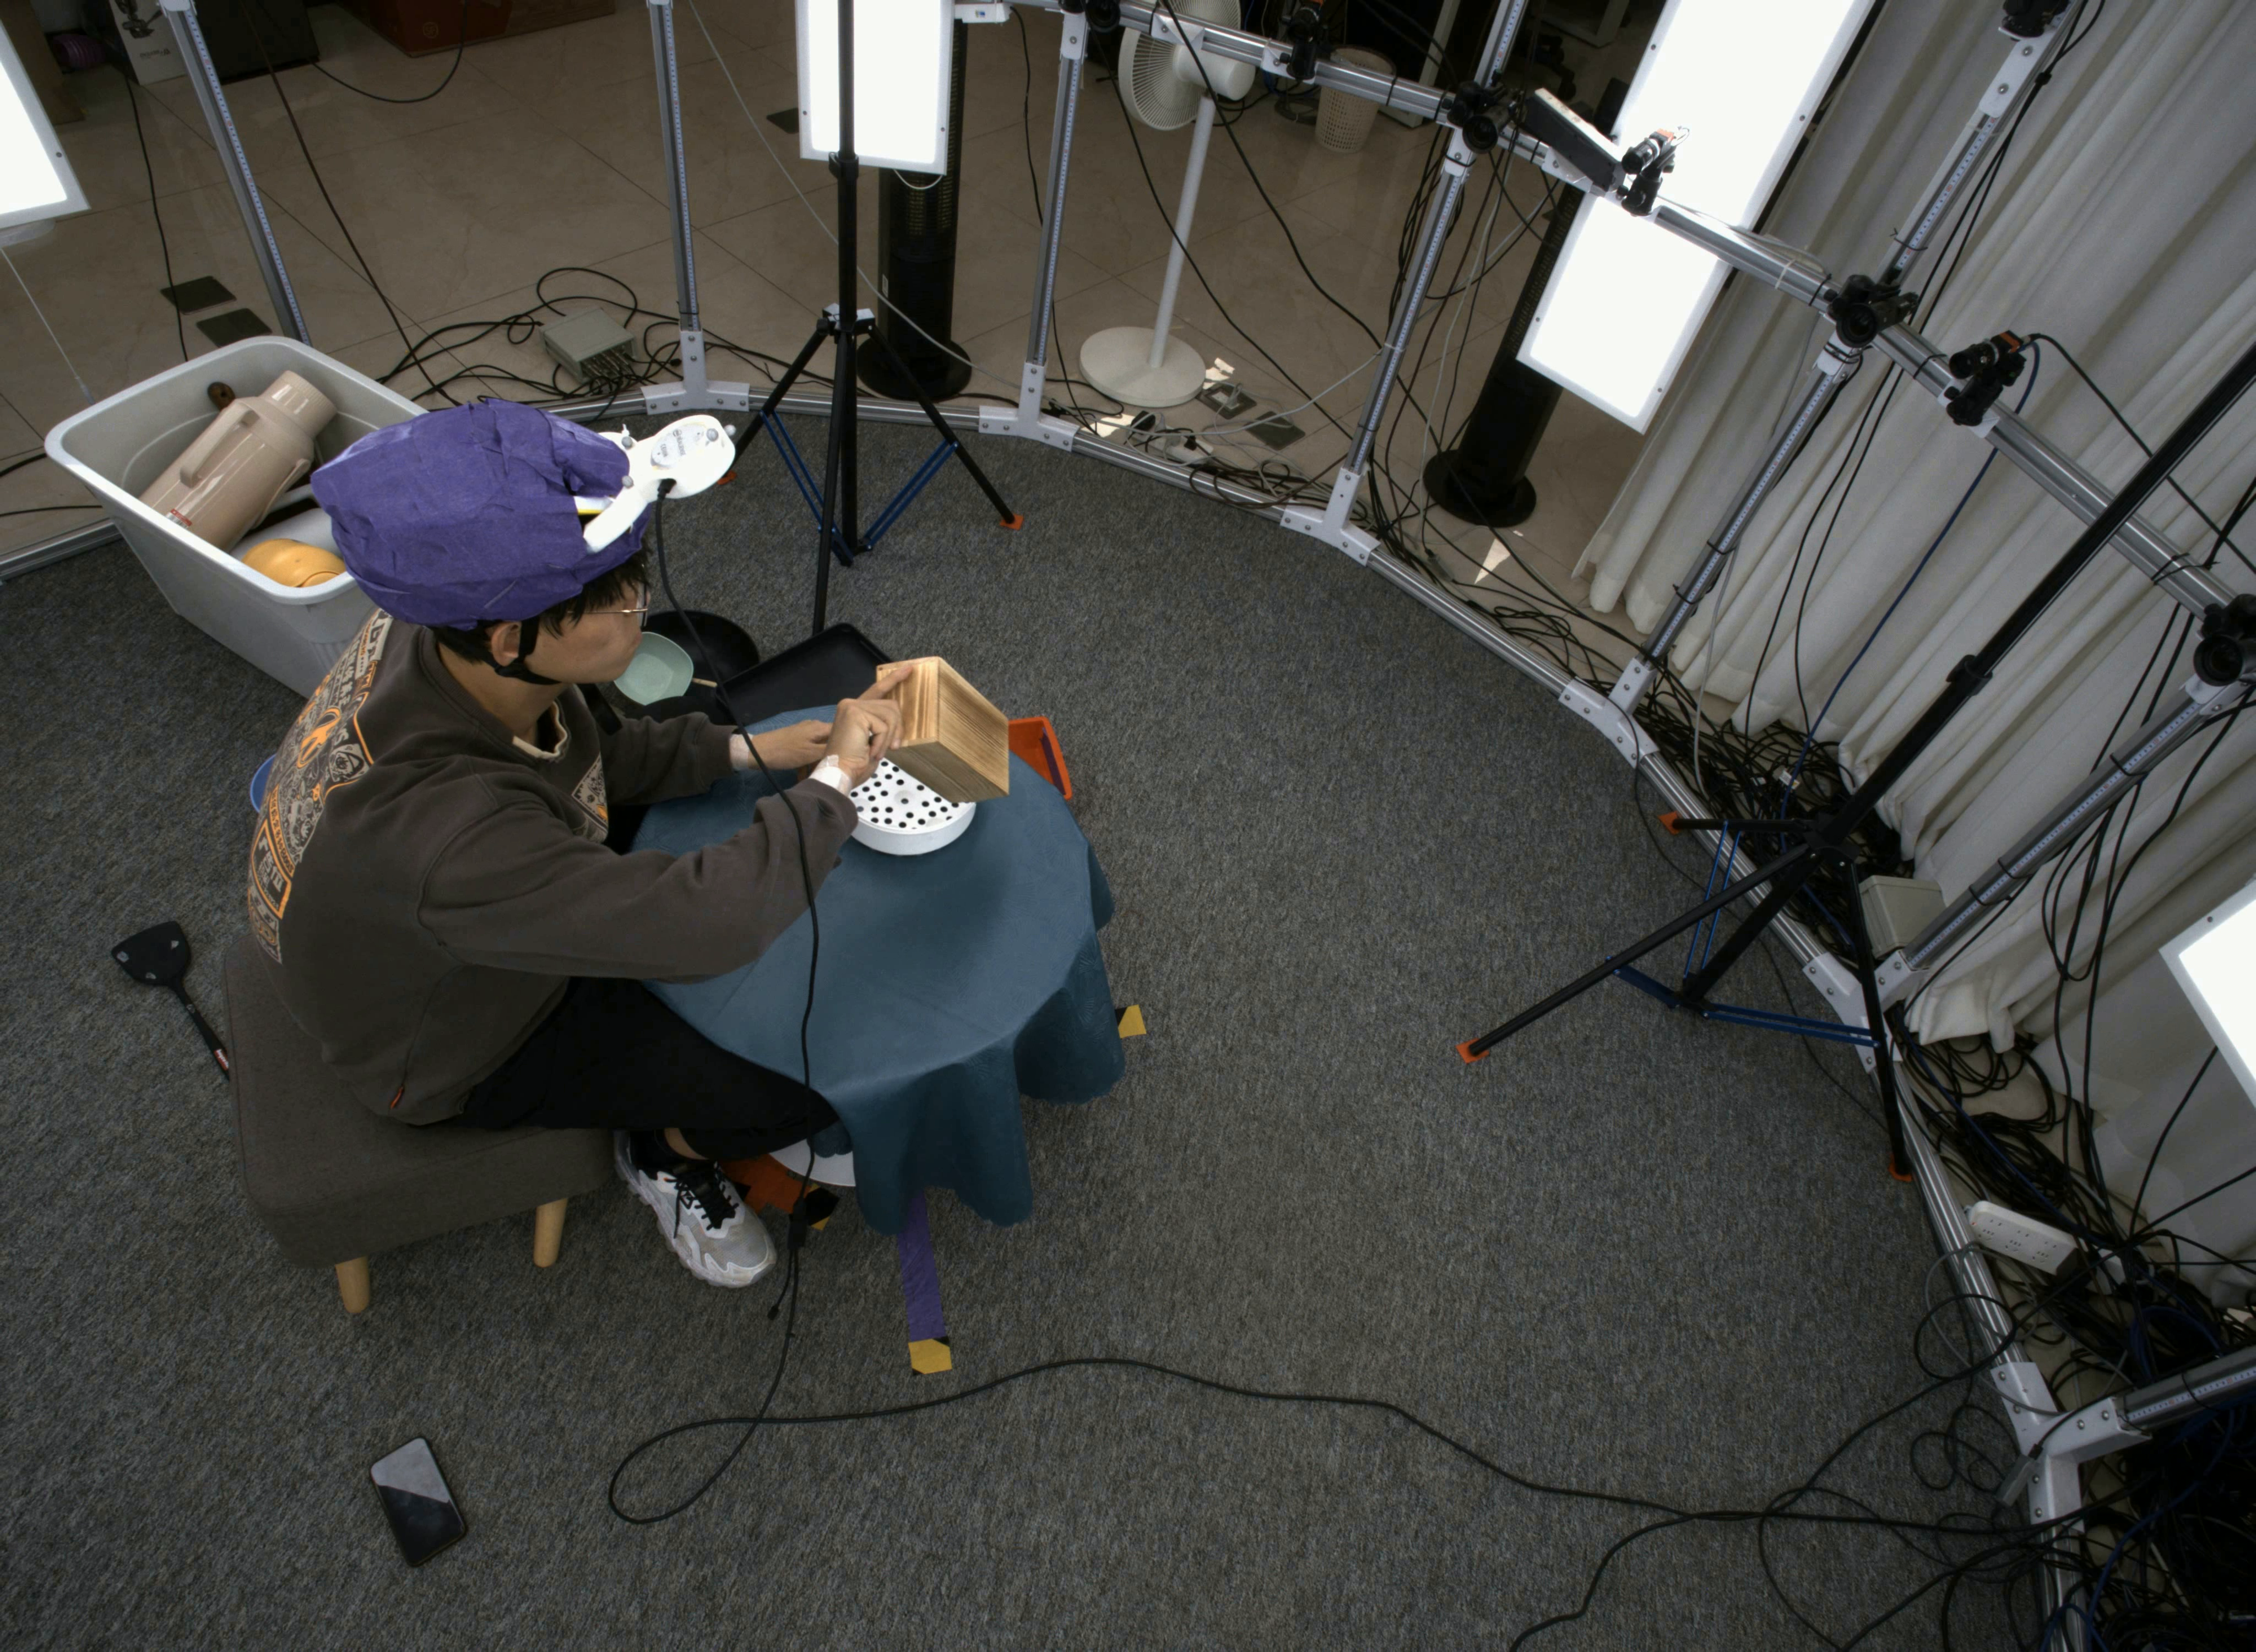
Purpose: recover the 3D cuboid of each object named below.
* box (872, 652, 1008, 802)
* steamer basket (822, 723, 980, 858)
[{"bbox_3d":[-0.224,-0.114,1.576,0.078,0.217,0.107,-7,73,16],"label":"box"},{"bbox_3d":[-0.297,-0.053,1.764,0.231,0.071,0.197,-10,57,-19],"label":"steamer basket"}]
